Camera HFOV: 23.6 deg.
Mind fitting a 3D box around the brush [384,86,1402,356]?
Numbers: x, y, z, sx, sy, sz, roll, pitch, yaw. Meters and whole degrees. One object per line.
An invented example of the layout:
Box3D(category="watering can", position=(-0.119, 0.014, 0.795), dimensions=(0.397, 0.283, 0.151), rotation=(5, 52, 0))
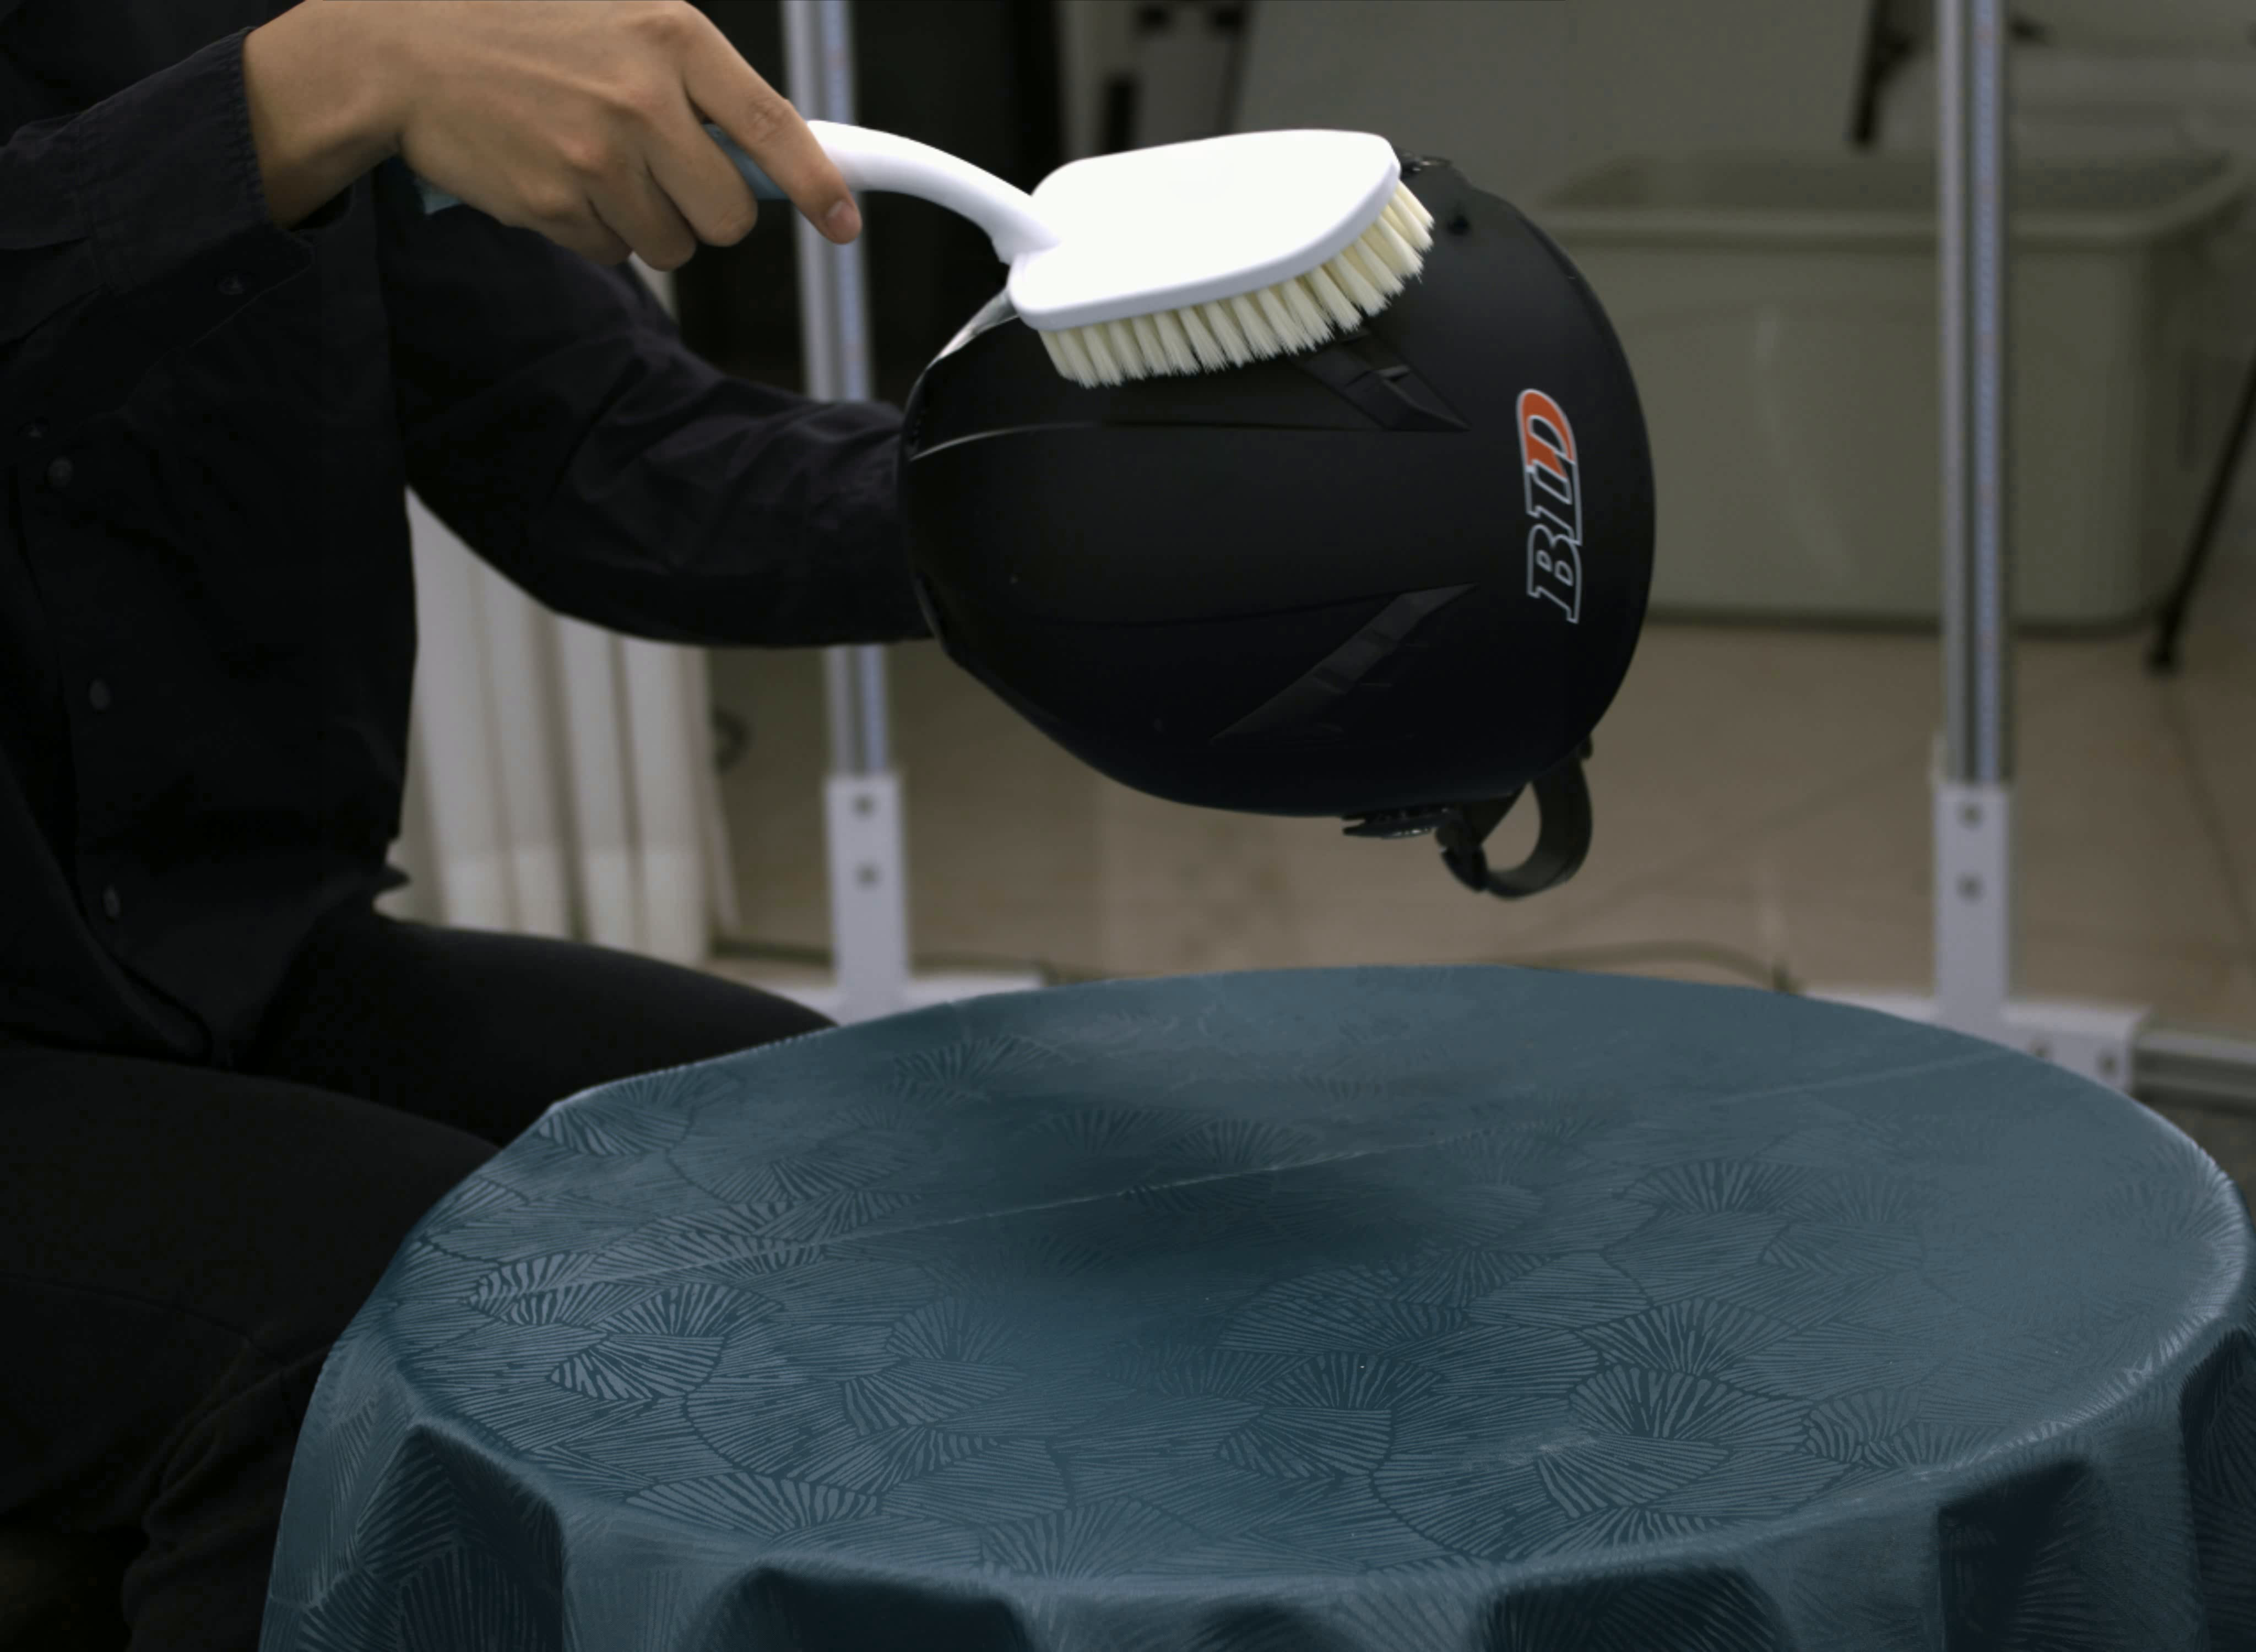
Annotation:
Box3D(category="brush", position=(-0.072, -0.190, 1.685), dimensions=(0.324, 0.085, 0.082), rotation=(1, 13, 16))

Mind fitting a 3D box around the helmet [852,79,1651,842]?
Box3D(category="helmet", position=(0.031, -0.111, 1.749), dimensions=(0.168, 0.250, 0.279), rotation=(-9, 9, -35))
